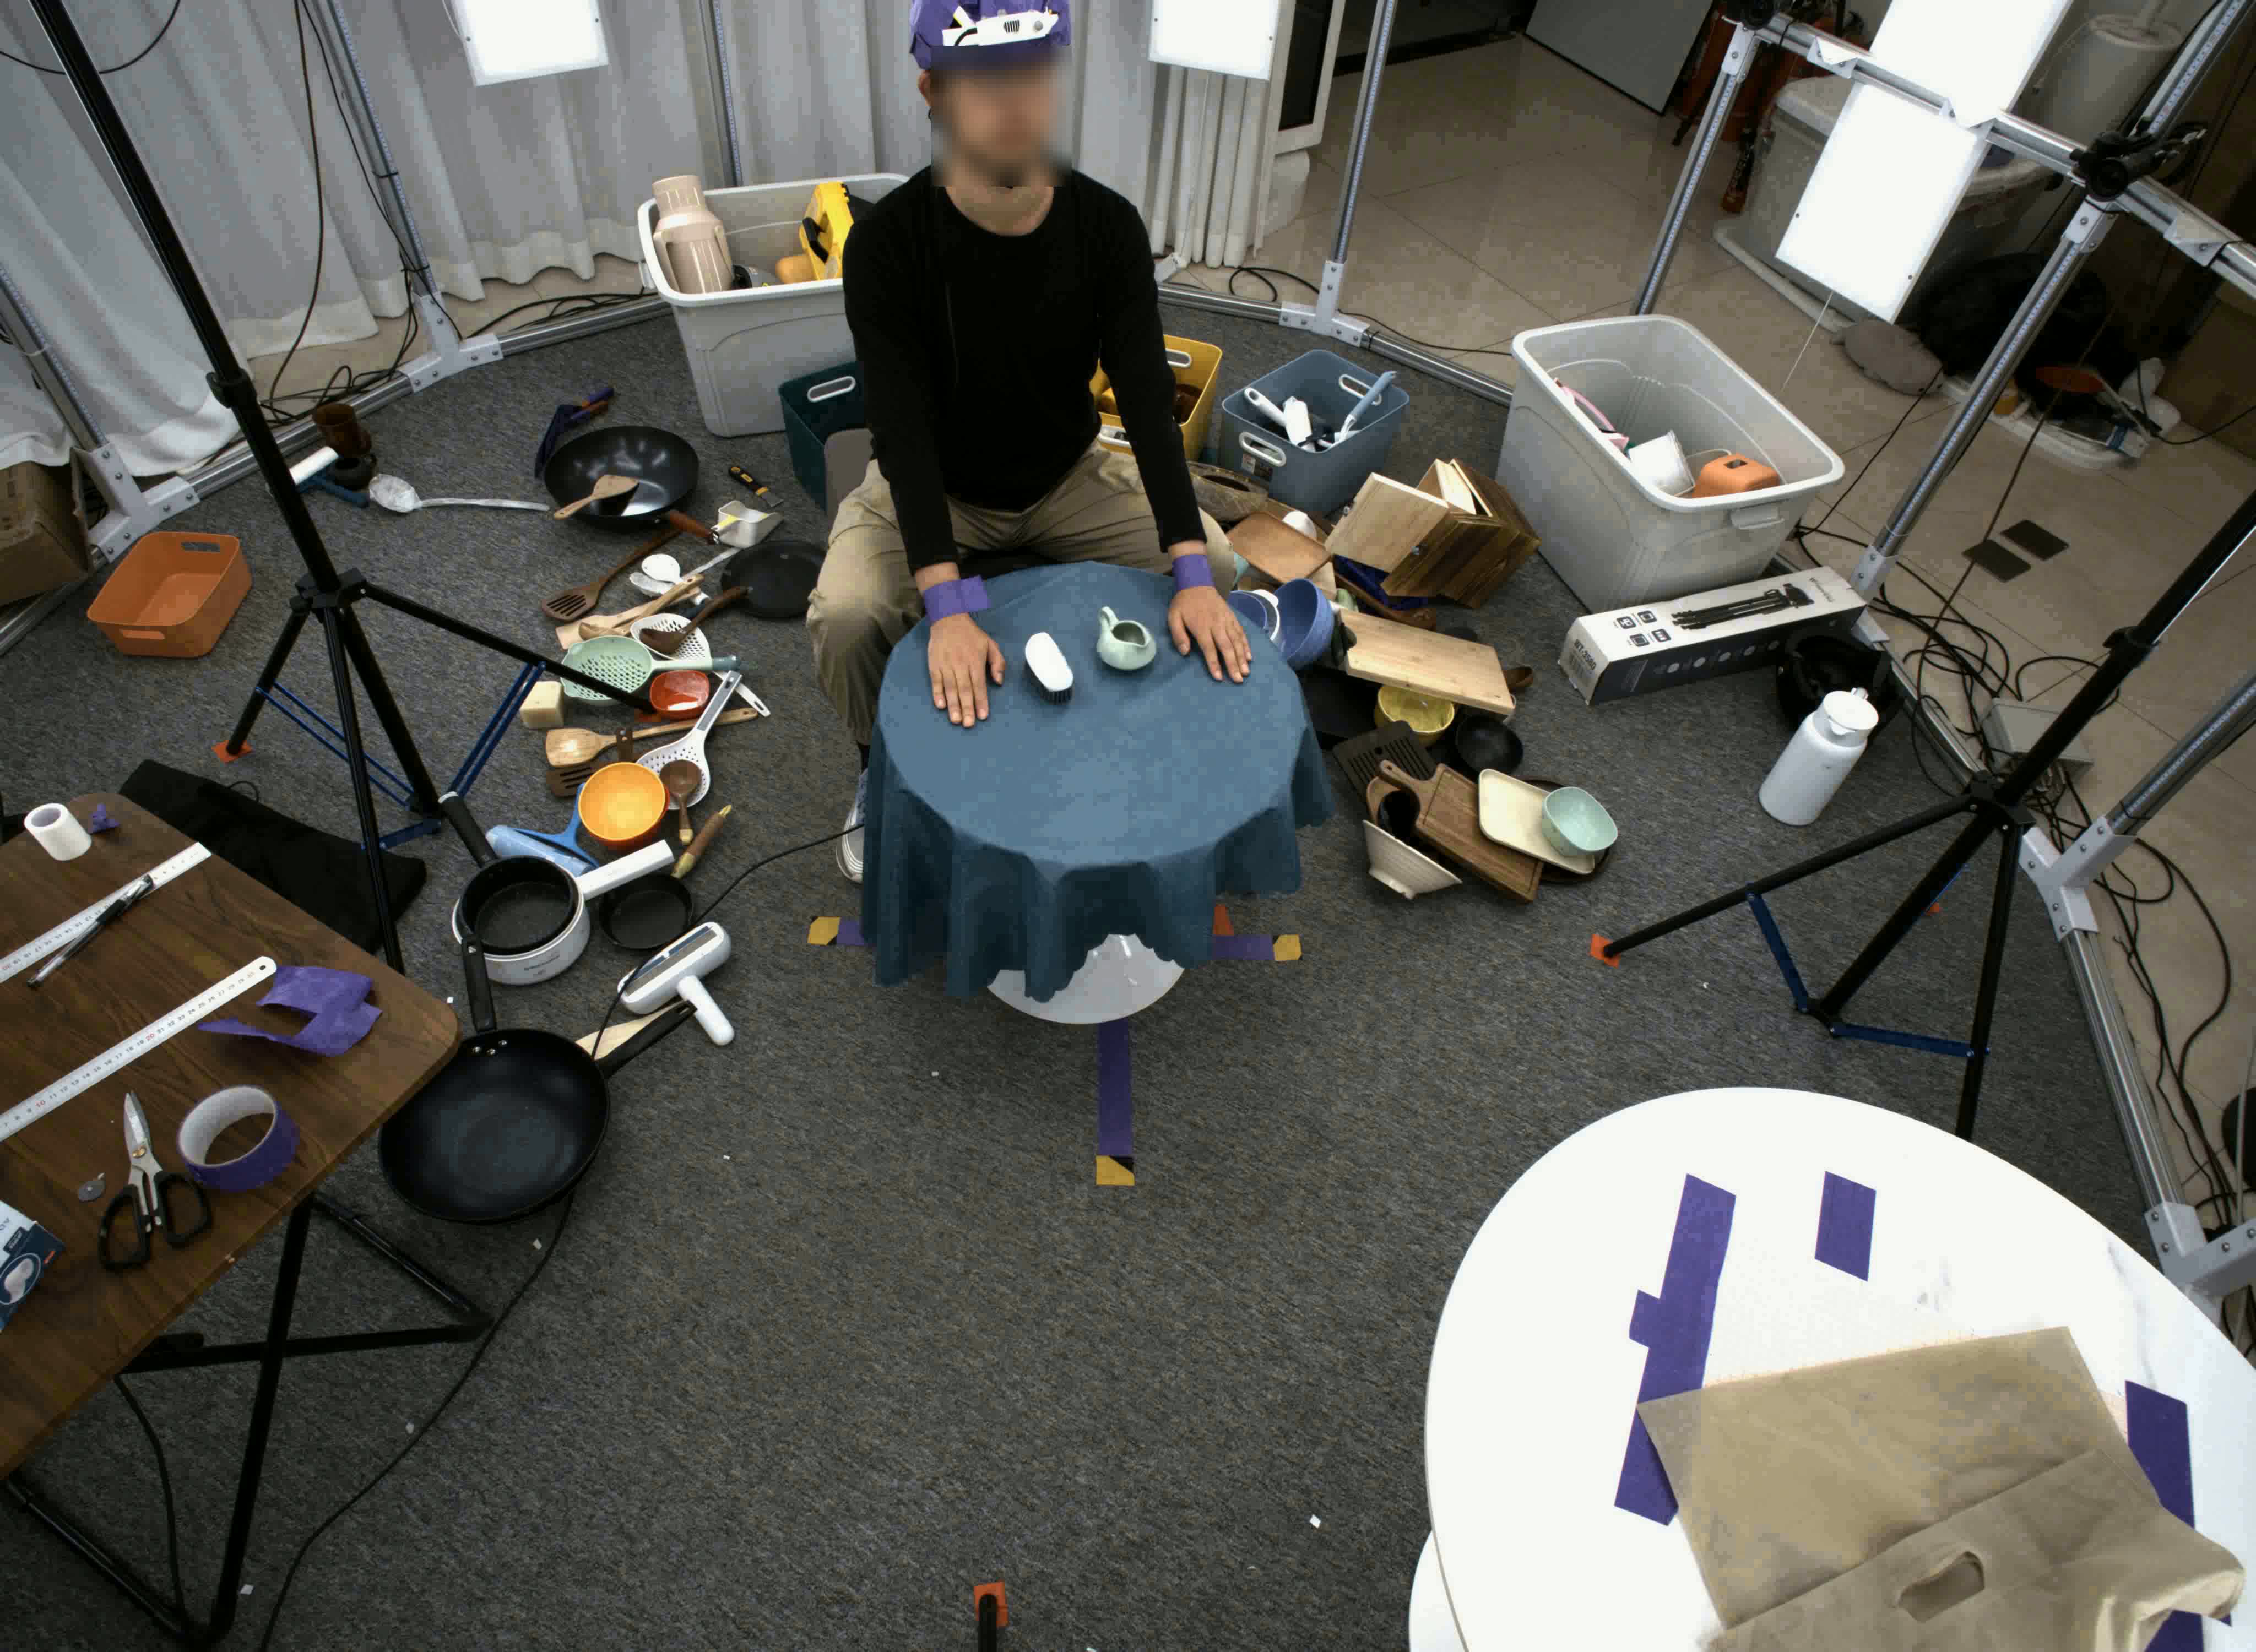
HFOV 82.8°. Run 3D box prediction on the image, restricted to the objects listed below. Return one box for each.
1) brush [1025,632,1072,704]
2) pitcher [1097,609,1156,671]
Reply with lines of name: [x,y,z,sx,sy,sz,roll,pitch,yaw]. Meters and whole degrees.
brush: [-0.112,-0.231,1.811,0.050,0.071,0.101,-16,53,-20]
pitcher: [-0.009,-0.271,1.866,0.086,0.059,0.110,-30,54,-27]
